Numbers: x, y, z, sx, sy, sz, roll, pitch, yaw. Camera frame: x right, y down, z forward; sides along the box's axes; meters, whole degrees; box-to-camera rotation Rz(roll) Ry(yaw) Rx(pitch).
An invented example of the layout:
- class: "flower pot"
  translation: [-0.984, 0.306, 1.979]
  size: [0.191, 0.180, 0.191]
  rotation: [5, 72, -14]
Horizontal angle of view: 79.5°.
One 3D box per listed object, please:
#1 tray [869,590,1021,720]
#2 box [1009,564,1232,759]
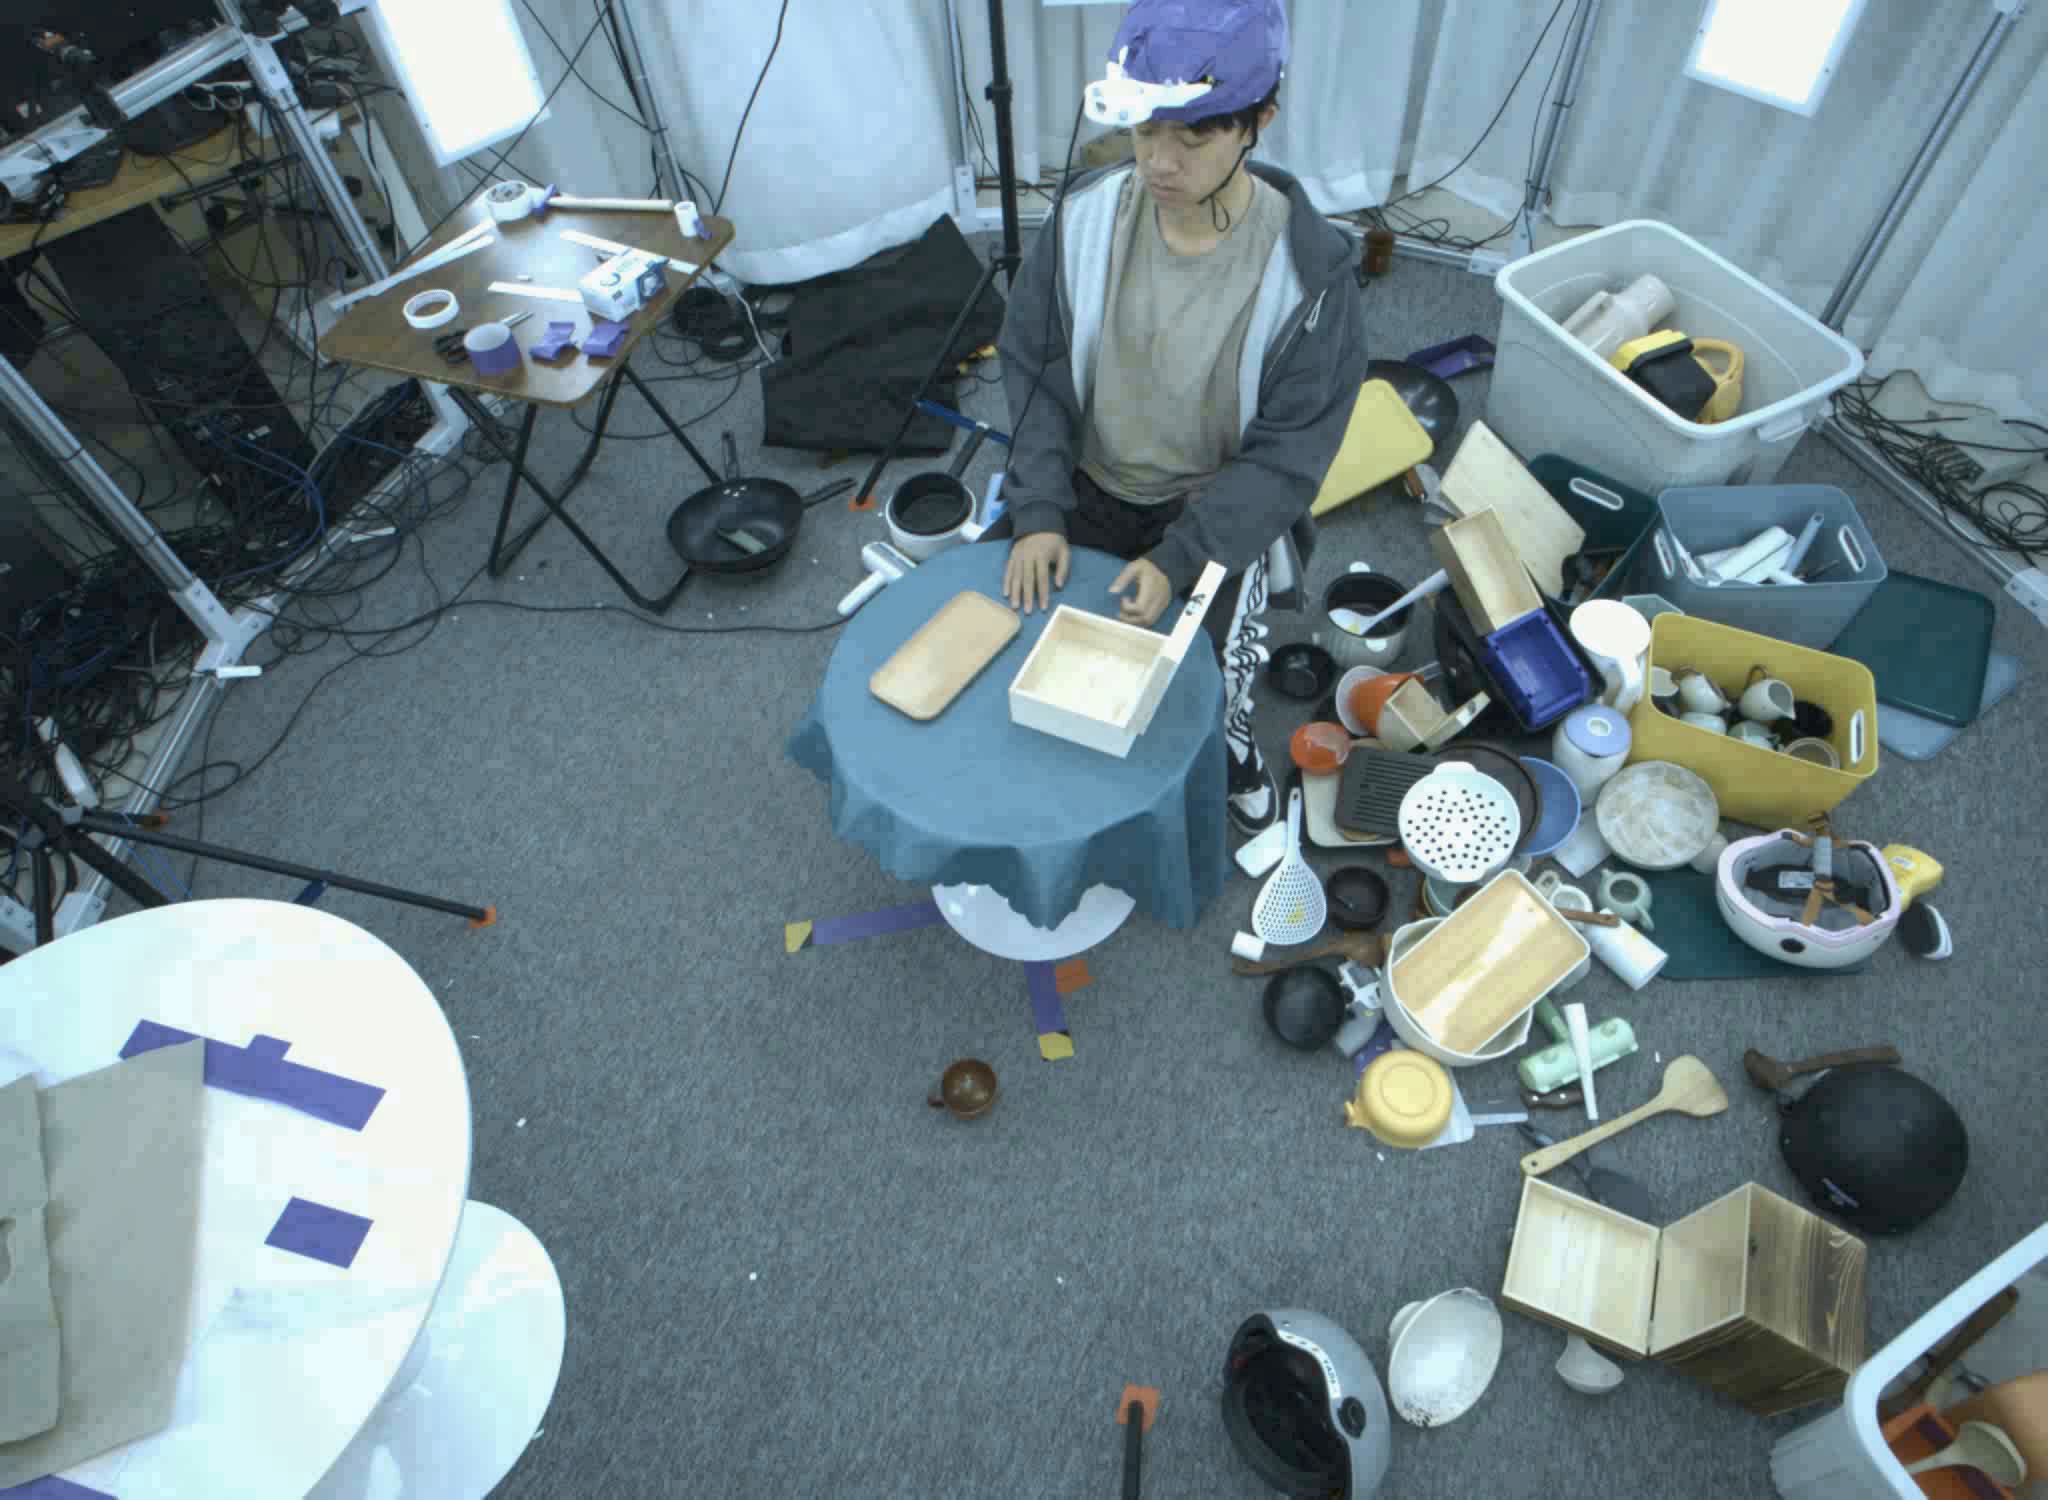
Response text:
- class: "tray"
  translation: [-0.120, -0.148, 1.889]
  size: [0.128, 0.023, 0.252]
  rotation: [32, 61, 19]
- class: "box"
  translation: [0.127, -0.144, 1.737]
  size: [0.262, 0.256, 0.182]
  rotation: [18, 55, 14]
